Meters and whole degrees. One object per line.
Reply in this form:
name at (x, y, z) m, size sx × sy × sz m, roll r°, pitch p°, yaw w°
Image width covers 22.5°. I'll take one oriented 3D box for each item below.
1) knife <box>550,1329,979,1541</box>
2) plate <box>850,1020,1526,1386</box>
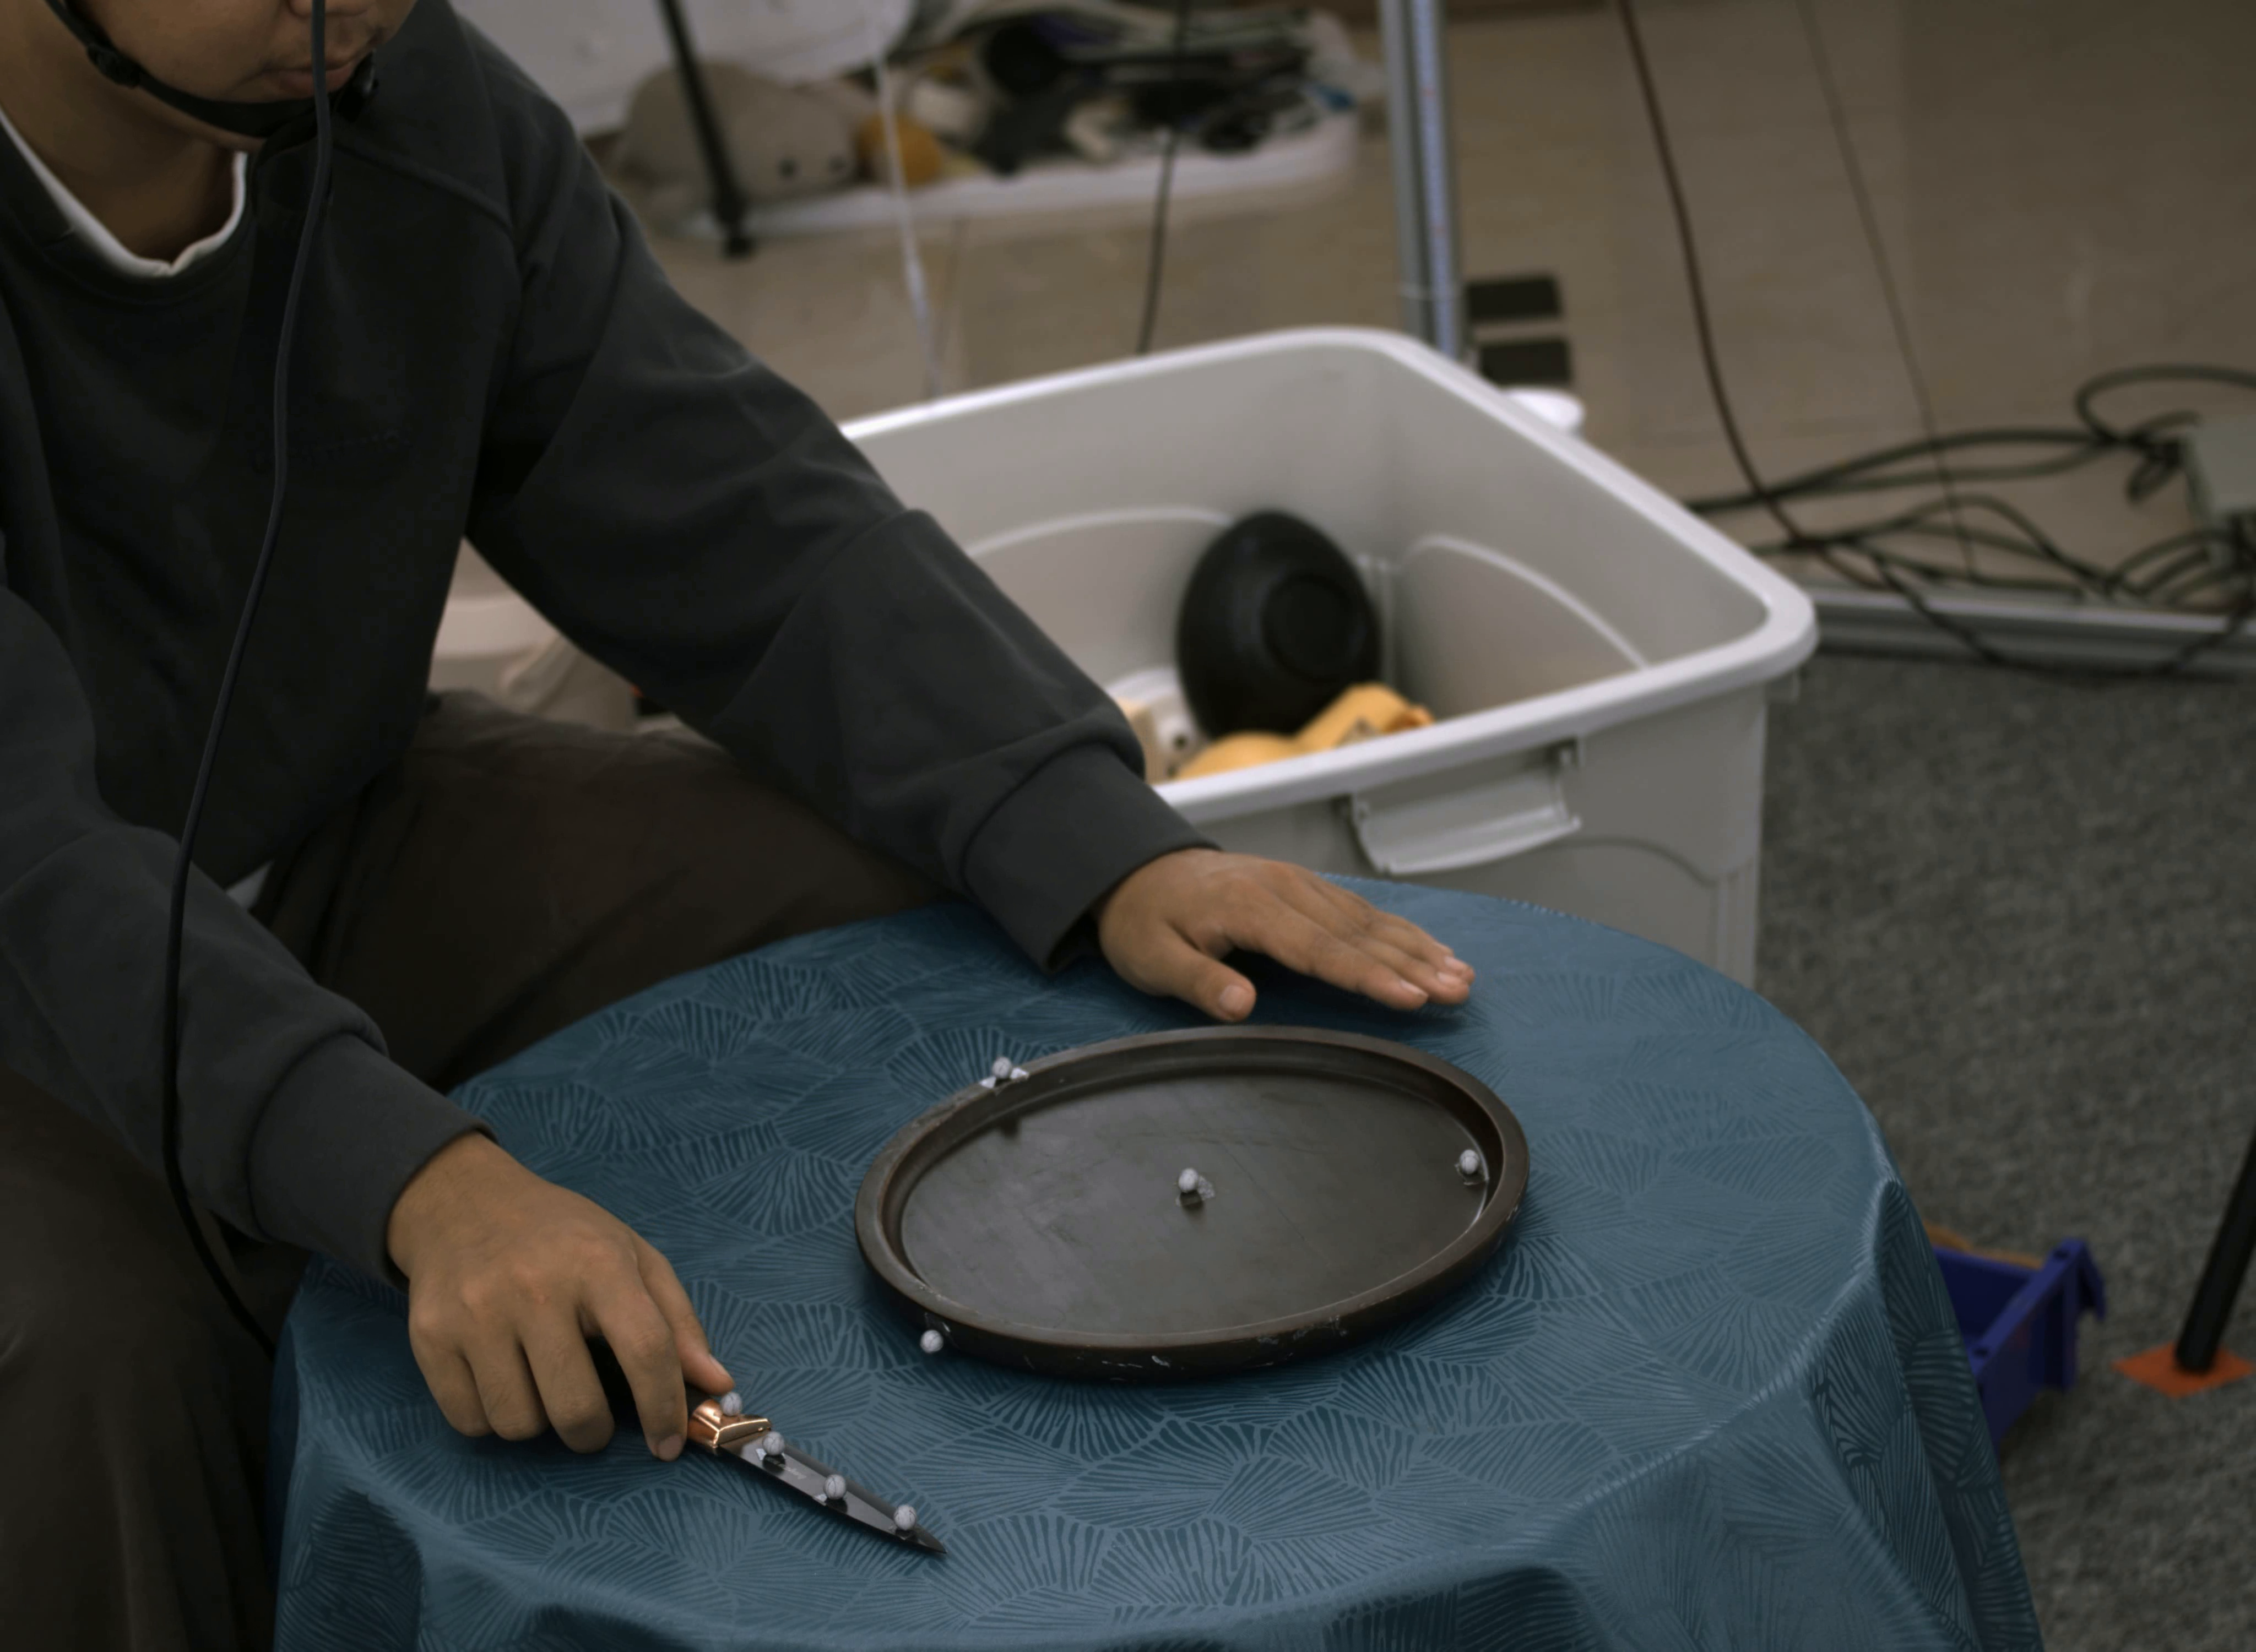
knife at (-0.131, 0.216, 2.001) m, size 0.026 × 0.017 × 0.223 m, roll -13°, pitch 23°, yaw -41°
plate at (0.023, 0.139, 2.115) m, size 0.254 × 0.029 × 0.251 m, roll -7°, pitch 24°, yaw 3°
